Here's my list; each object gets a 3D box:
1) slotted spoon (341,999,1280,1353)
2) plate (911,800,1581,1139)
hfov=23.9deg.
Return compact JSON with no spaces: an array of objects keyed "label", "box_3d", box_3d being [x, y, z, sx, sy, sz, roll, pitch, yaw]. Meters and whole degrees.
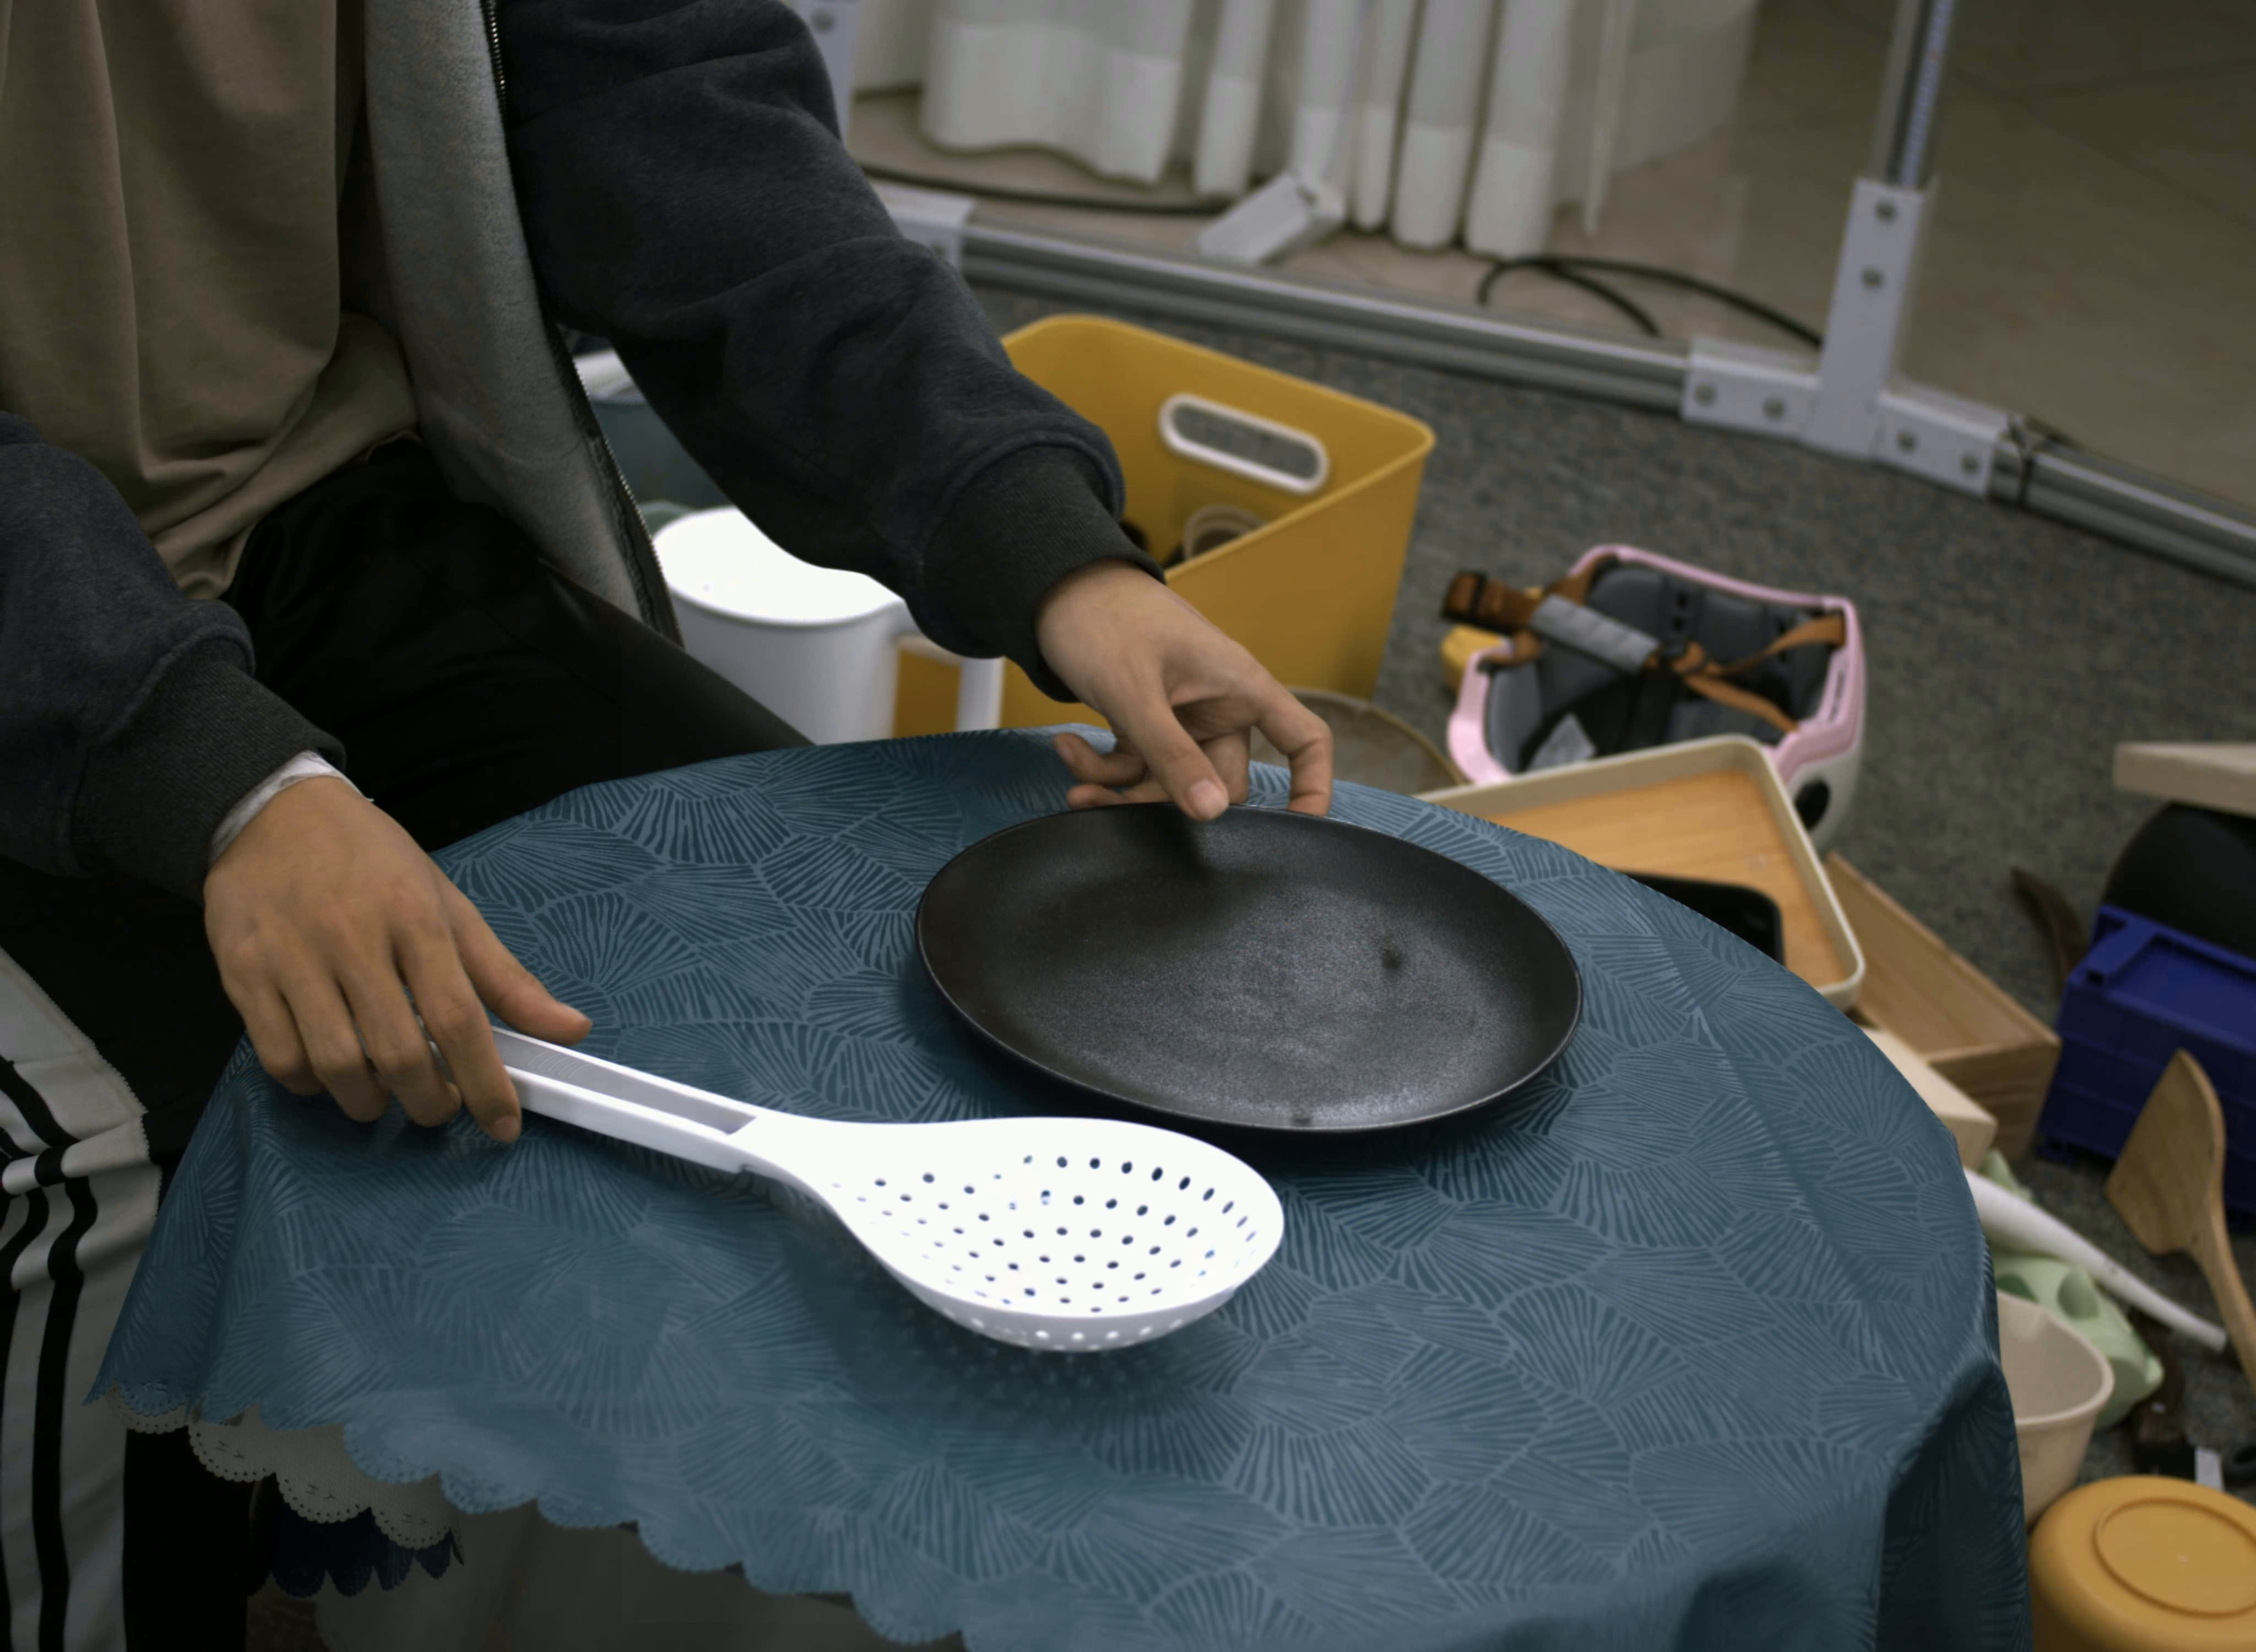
[{"label":"slotted spoon","box_3d":[-0.113,0.108,1.757,0.351,0.045,0.136,19,27,24]},{"label":"plate","box_3d":[0.042,0.056,1.918,0.243,0.023,0.246,5,27,-3]}]
